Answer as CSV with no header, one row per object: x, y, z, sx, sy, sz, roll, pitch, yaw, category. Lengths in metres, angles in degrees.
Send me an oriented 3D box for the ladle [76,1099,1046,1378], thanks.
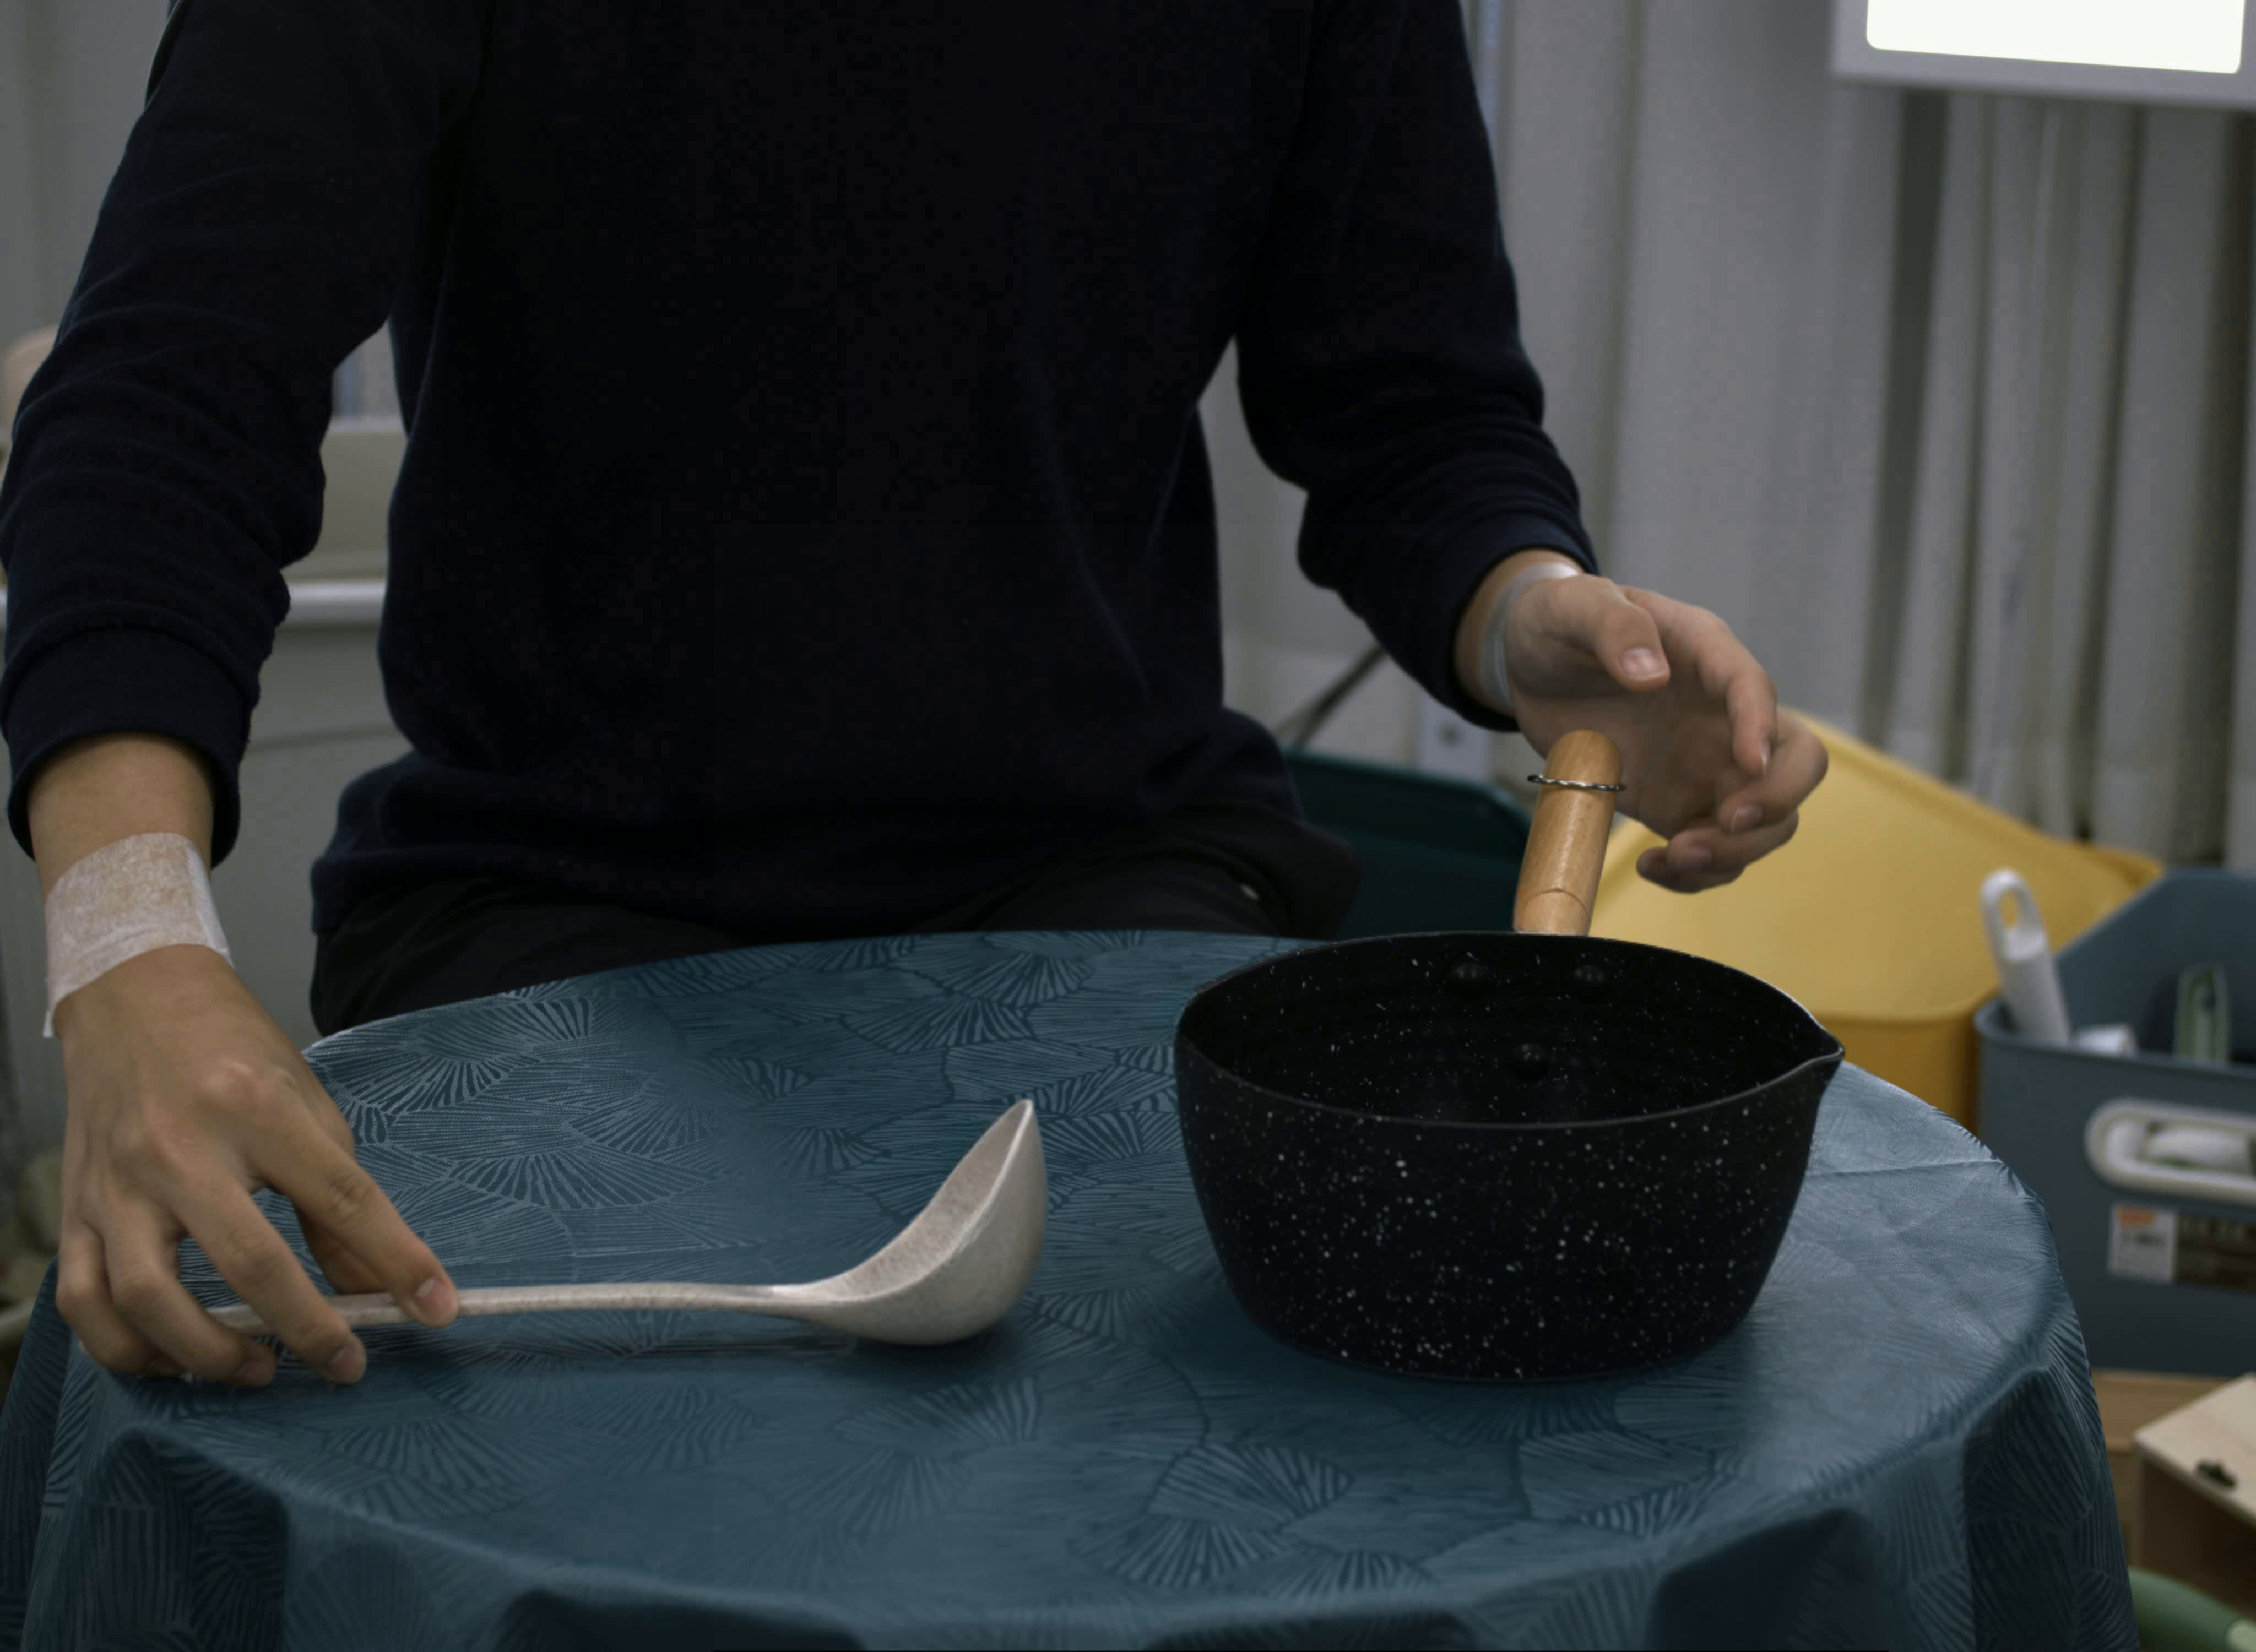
-0.160,0.116,1.485,0.274,0.070,0.089,-2,11,-4,ladle

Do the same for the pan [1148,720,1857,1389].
0.119,0.064,1.598,0.206,0.109,0.342,2,17,9,pan
